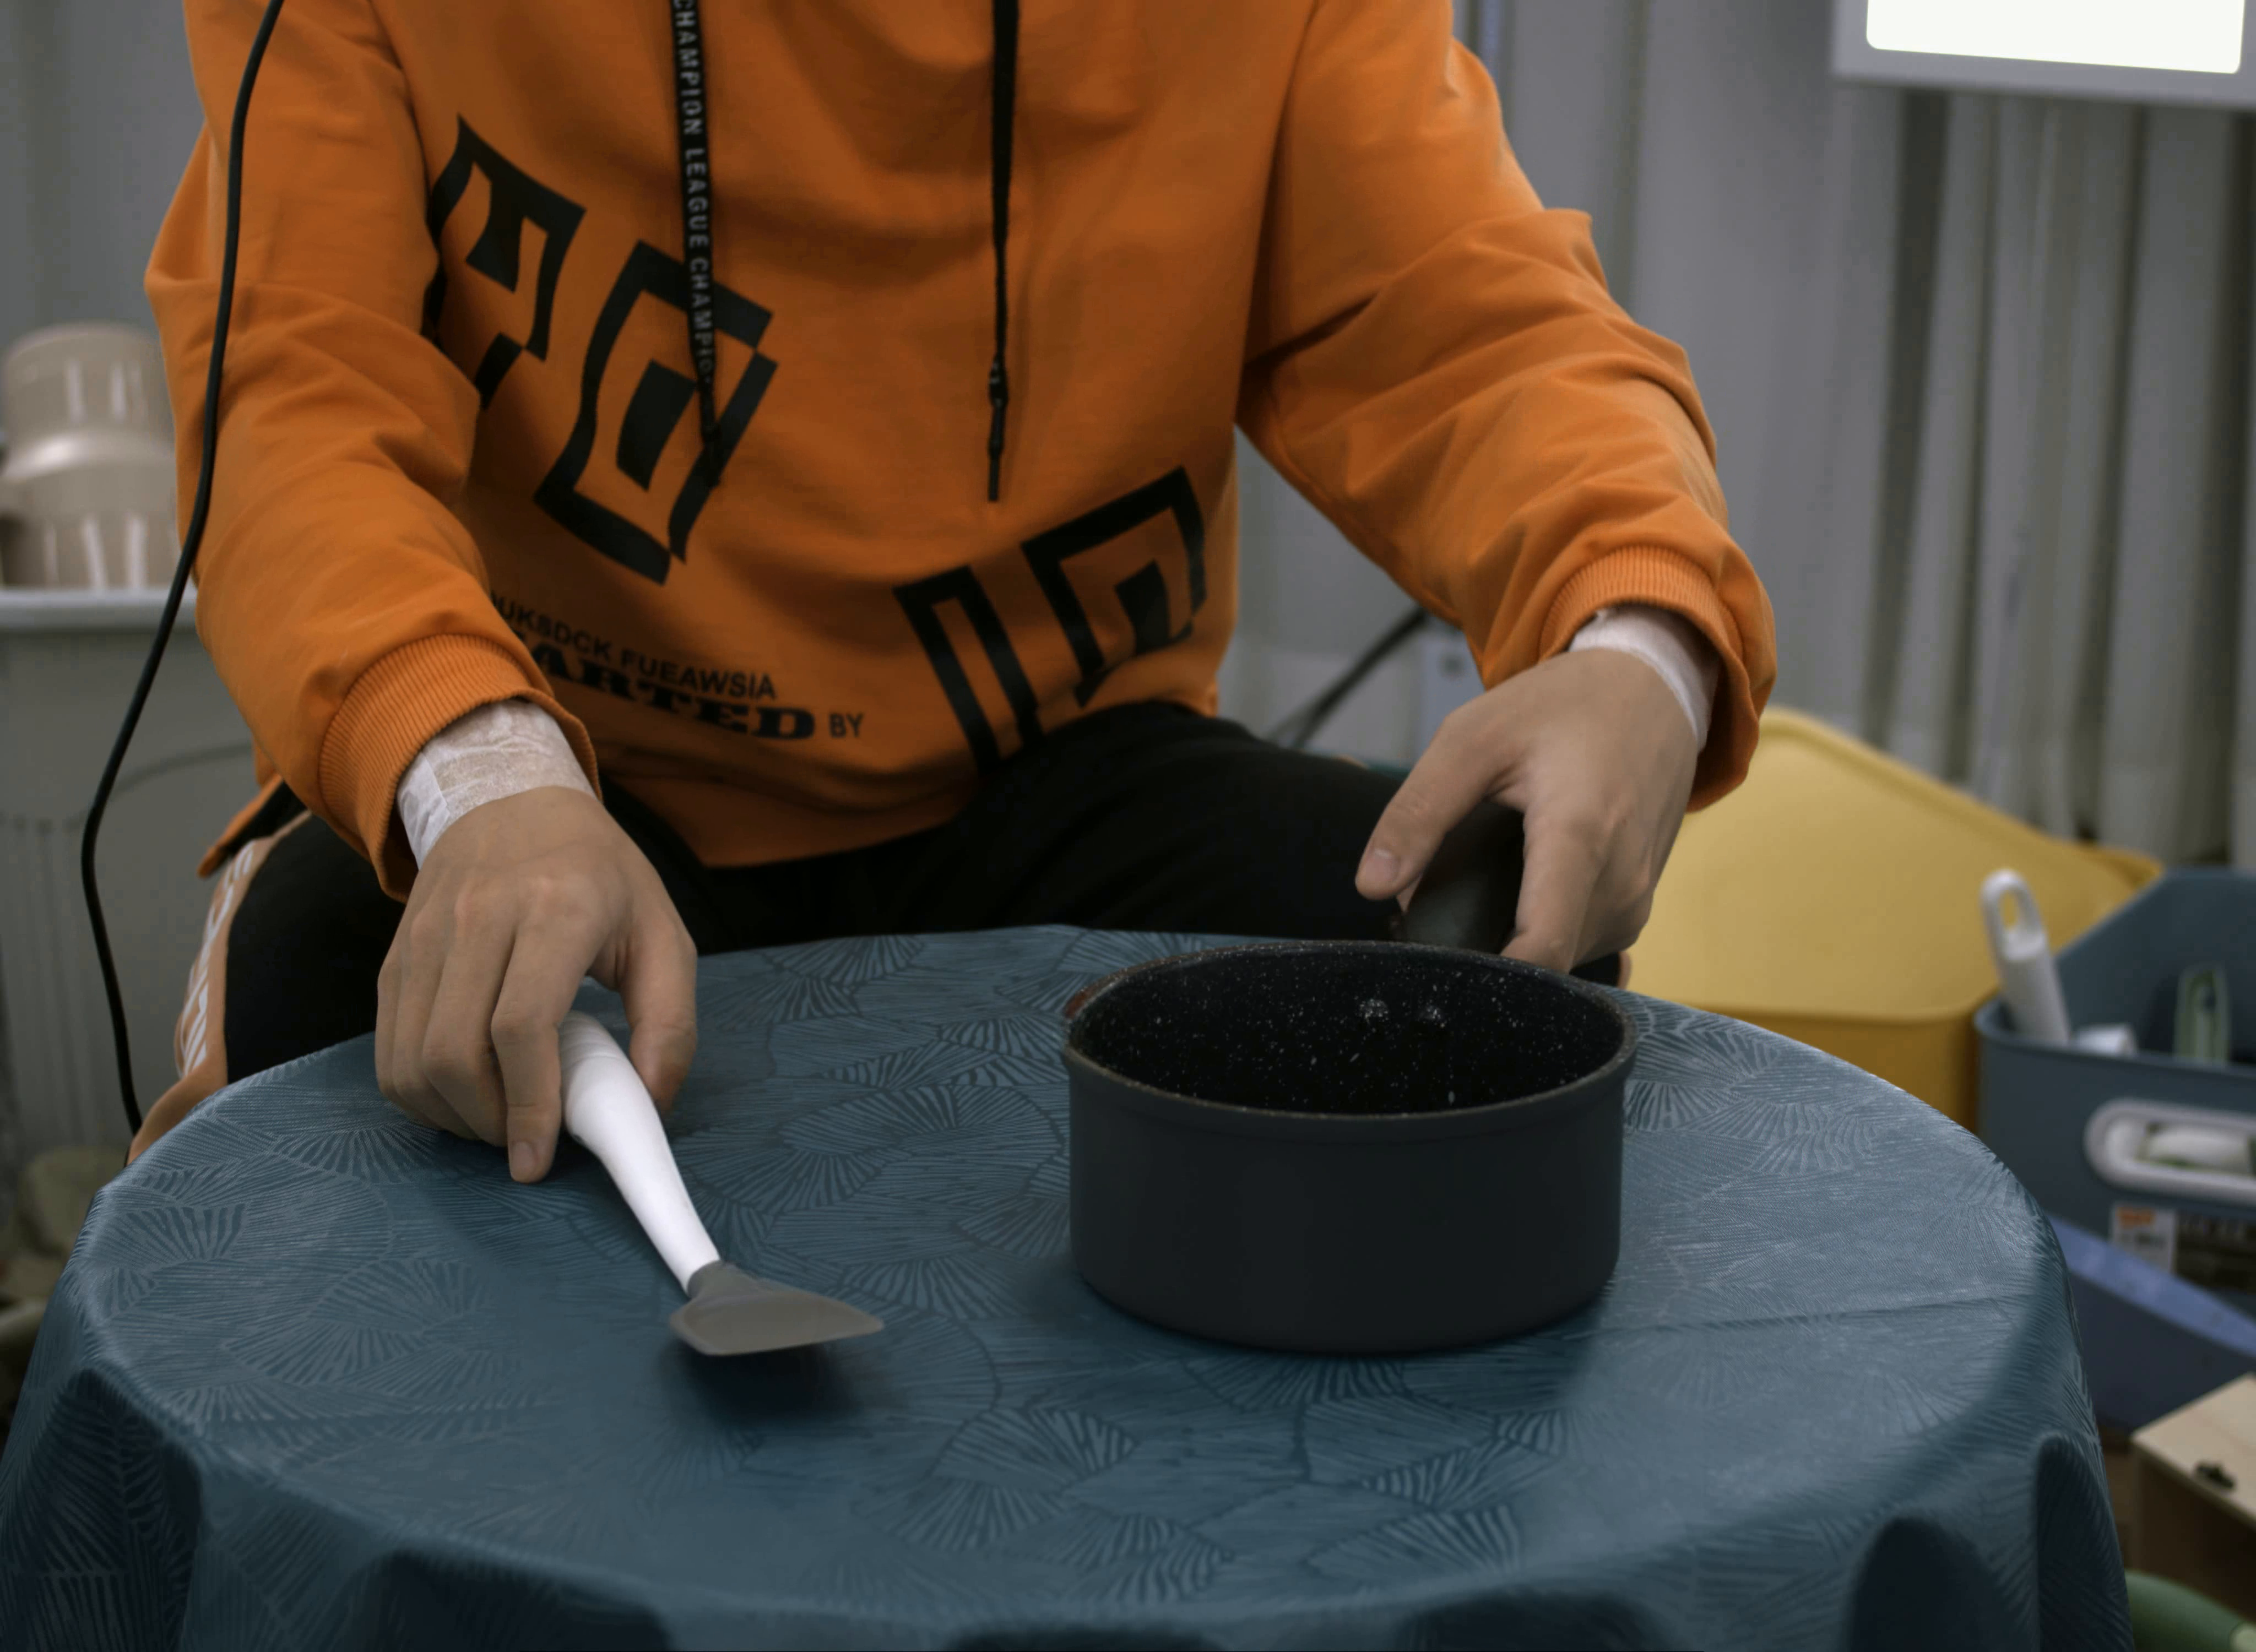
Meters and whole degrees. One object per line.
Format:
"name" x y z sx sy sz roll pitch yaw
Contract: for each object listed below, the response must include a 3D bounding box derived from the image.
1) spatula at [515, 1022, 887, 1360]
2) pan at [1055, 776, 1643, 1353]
"spatula" -0.134 0.113 1.556 0.059 0.032 0.284 -2 15 -19
"pan" 0.088 0.069 1.622 0.170 0.087 0.328 6 18 17
